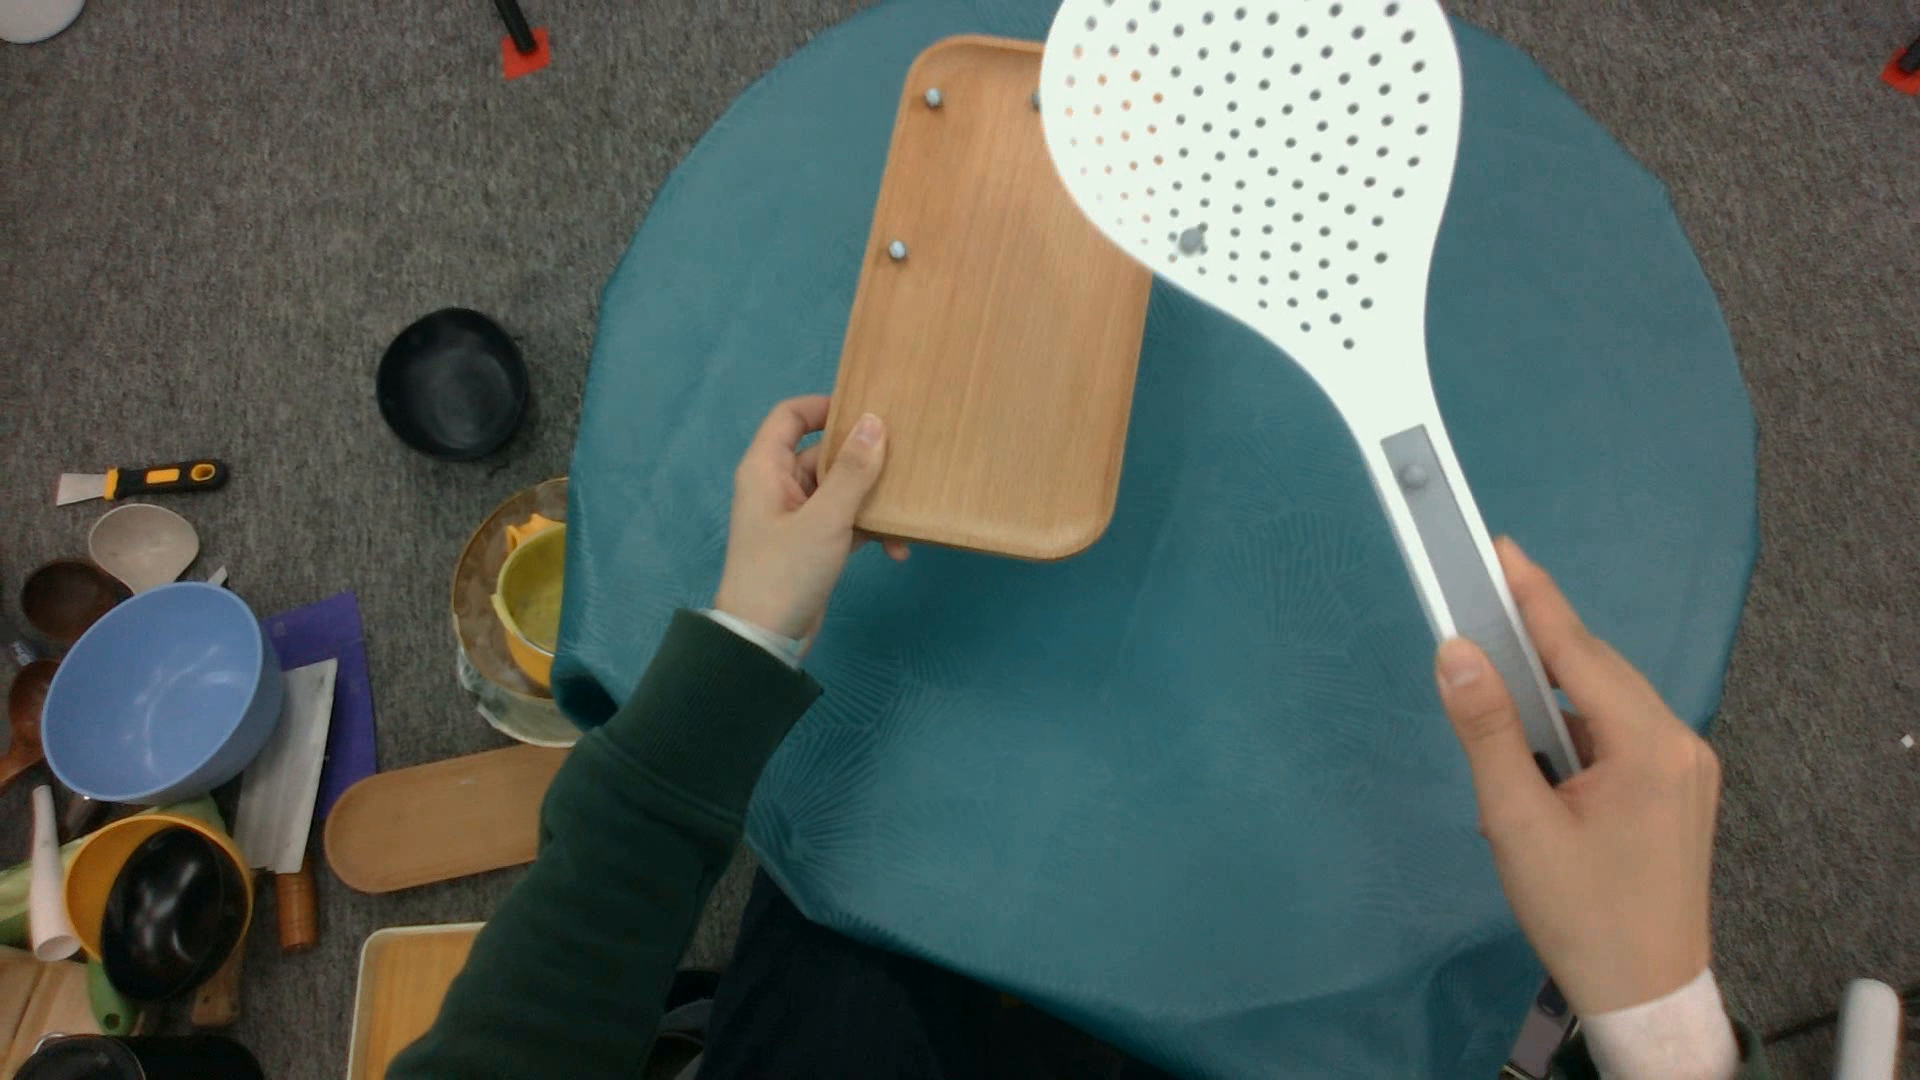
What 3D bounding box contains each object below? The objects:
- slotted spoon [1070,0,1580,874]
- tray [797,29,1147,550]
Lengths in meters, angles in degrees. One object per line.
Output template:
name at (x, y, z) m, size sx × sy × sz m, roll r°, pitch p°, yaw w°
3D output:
slotted spoon at (0.137, -0.060, 0.461) m, size 0.136 × 0.045 × 0.350 m, roll -17°, pitch 81°, yaw -5°
tray at (0.011, -0.117, 0.611) m, size 0.130 × 0.023 × 0.251 m, roll 9°, pitch 71°, yaw 6°
